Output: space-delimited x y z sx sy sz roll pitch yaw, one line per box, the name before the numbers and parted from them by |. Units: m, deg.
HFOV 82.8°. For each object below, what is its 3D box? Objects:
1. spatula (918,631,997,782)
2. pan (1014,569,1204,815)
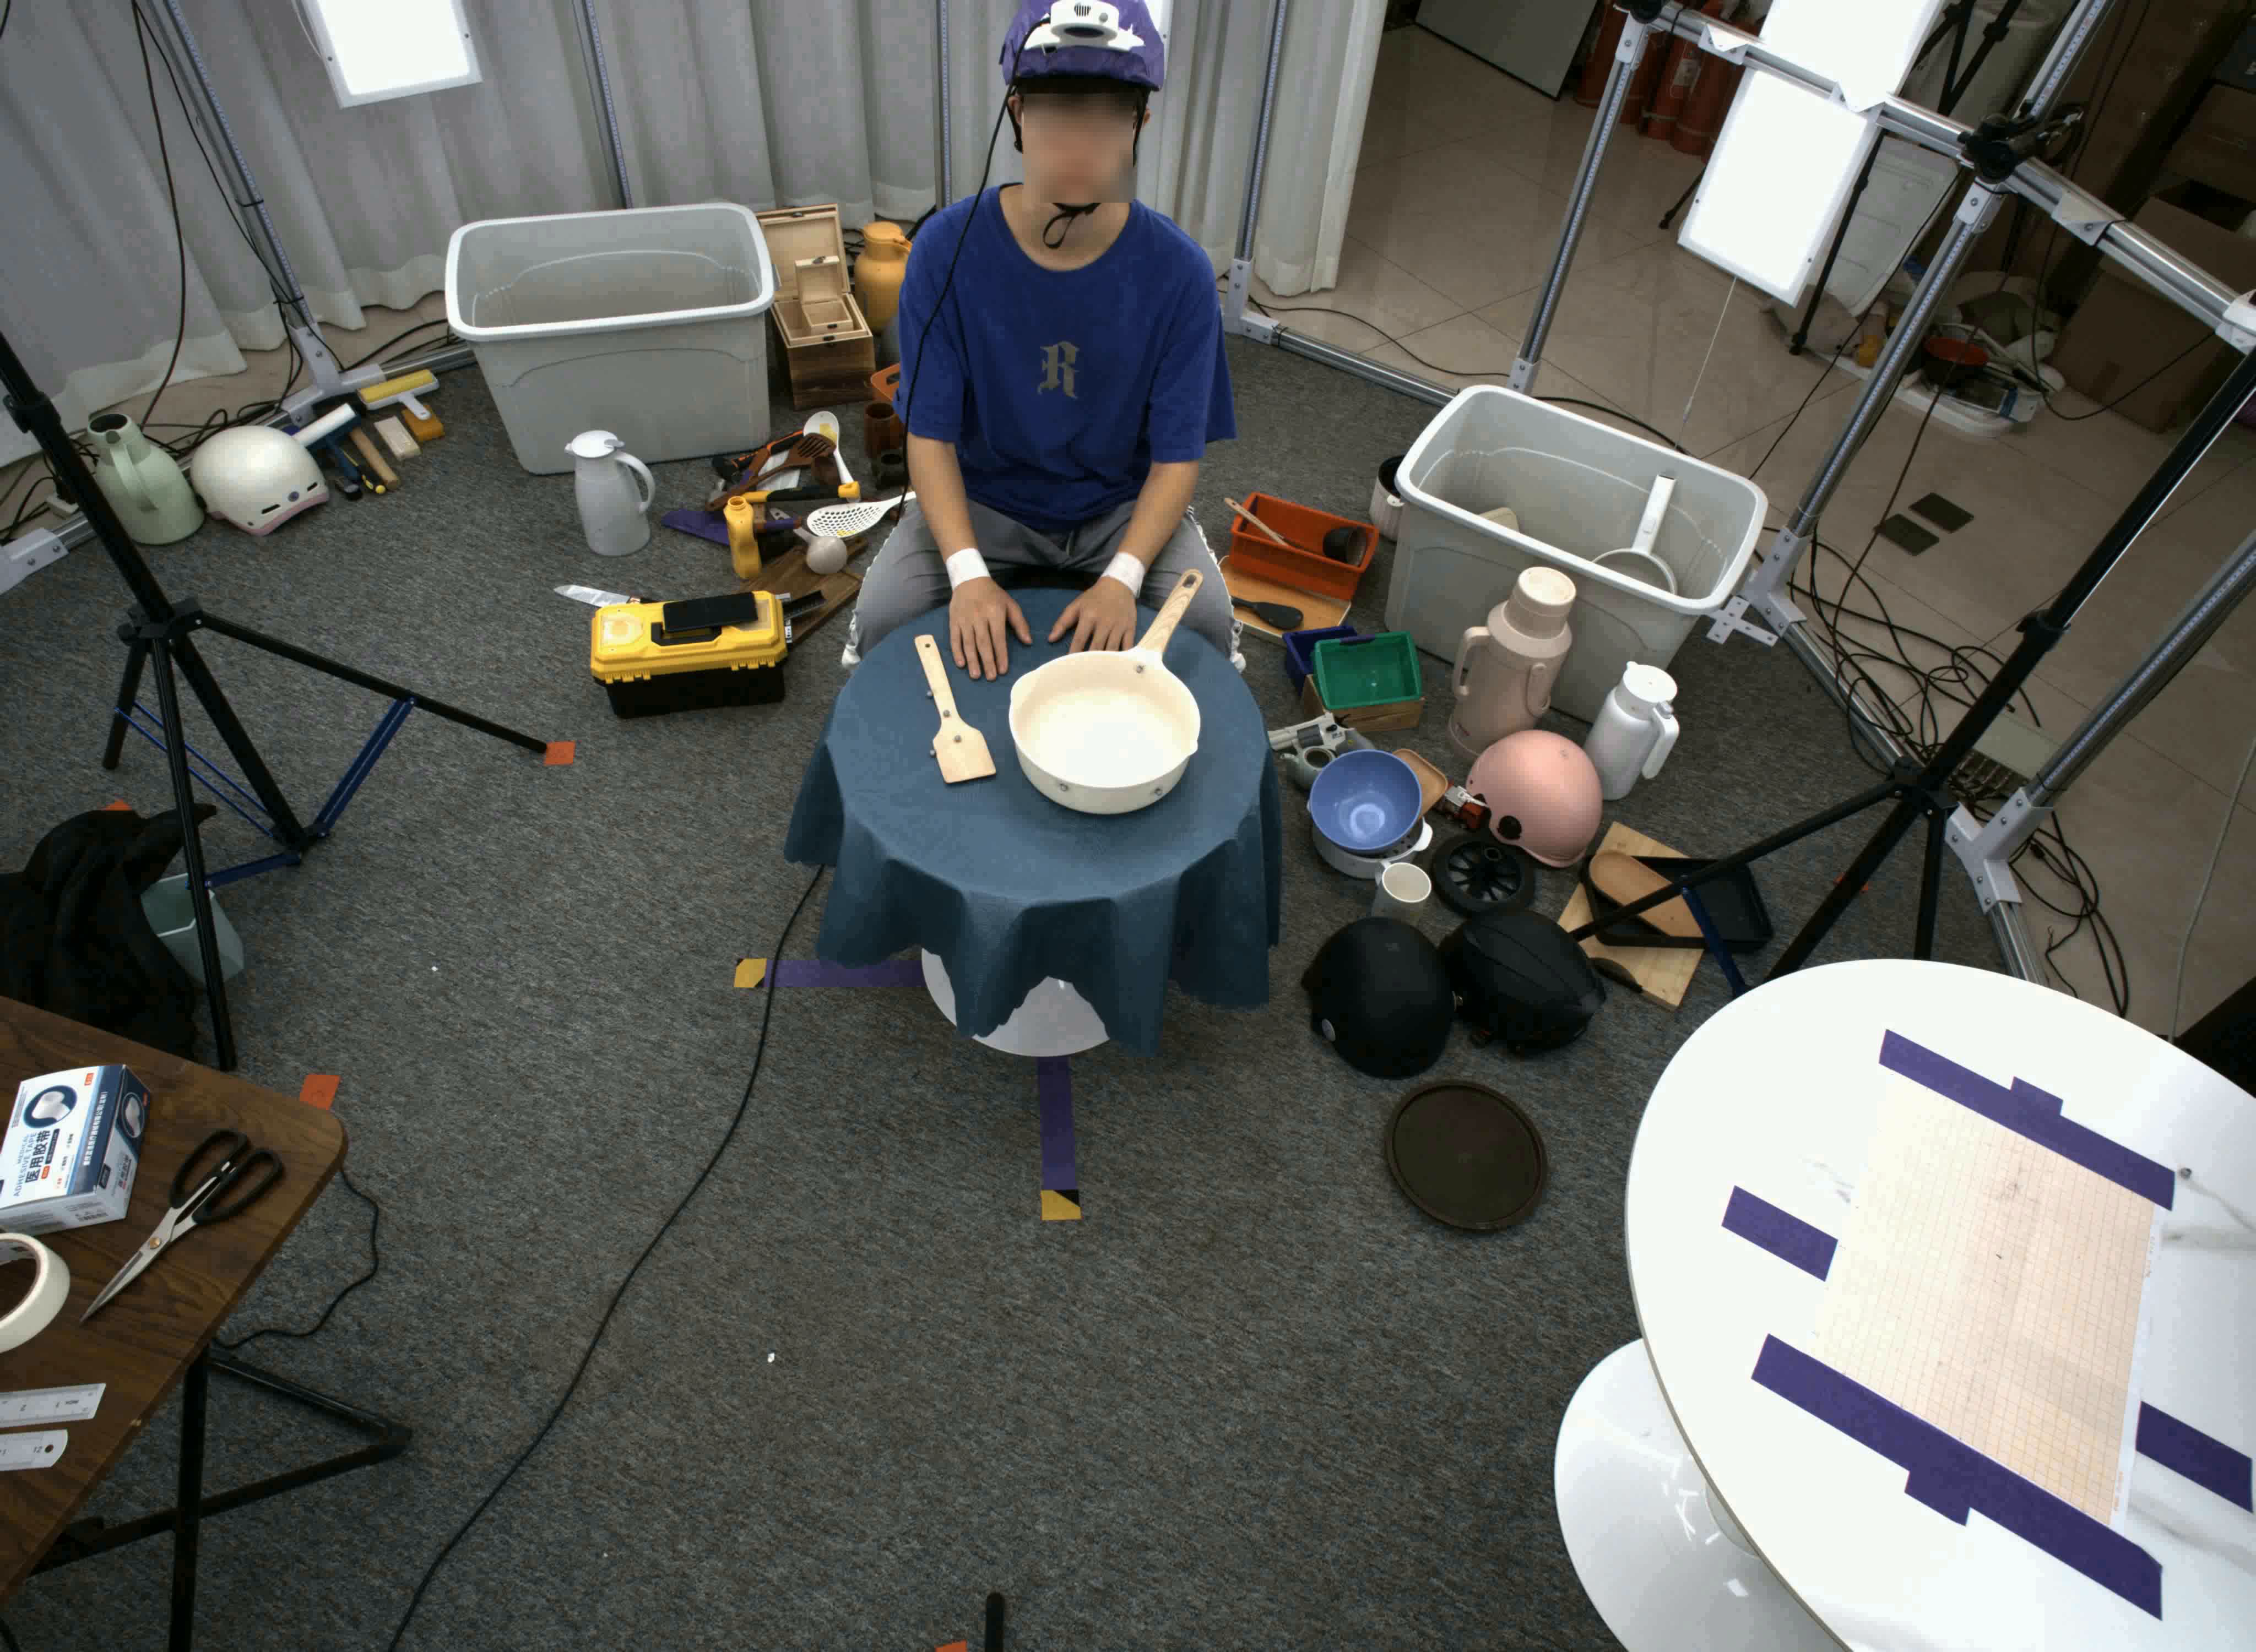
spatula | -0.252 -0.174 1.801 0.072 0.010 0.300 -13 52 -12
pan | 0.010 -0.188 1.771 0.265 0.099 0.443 19 51 14
